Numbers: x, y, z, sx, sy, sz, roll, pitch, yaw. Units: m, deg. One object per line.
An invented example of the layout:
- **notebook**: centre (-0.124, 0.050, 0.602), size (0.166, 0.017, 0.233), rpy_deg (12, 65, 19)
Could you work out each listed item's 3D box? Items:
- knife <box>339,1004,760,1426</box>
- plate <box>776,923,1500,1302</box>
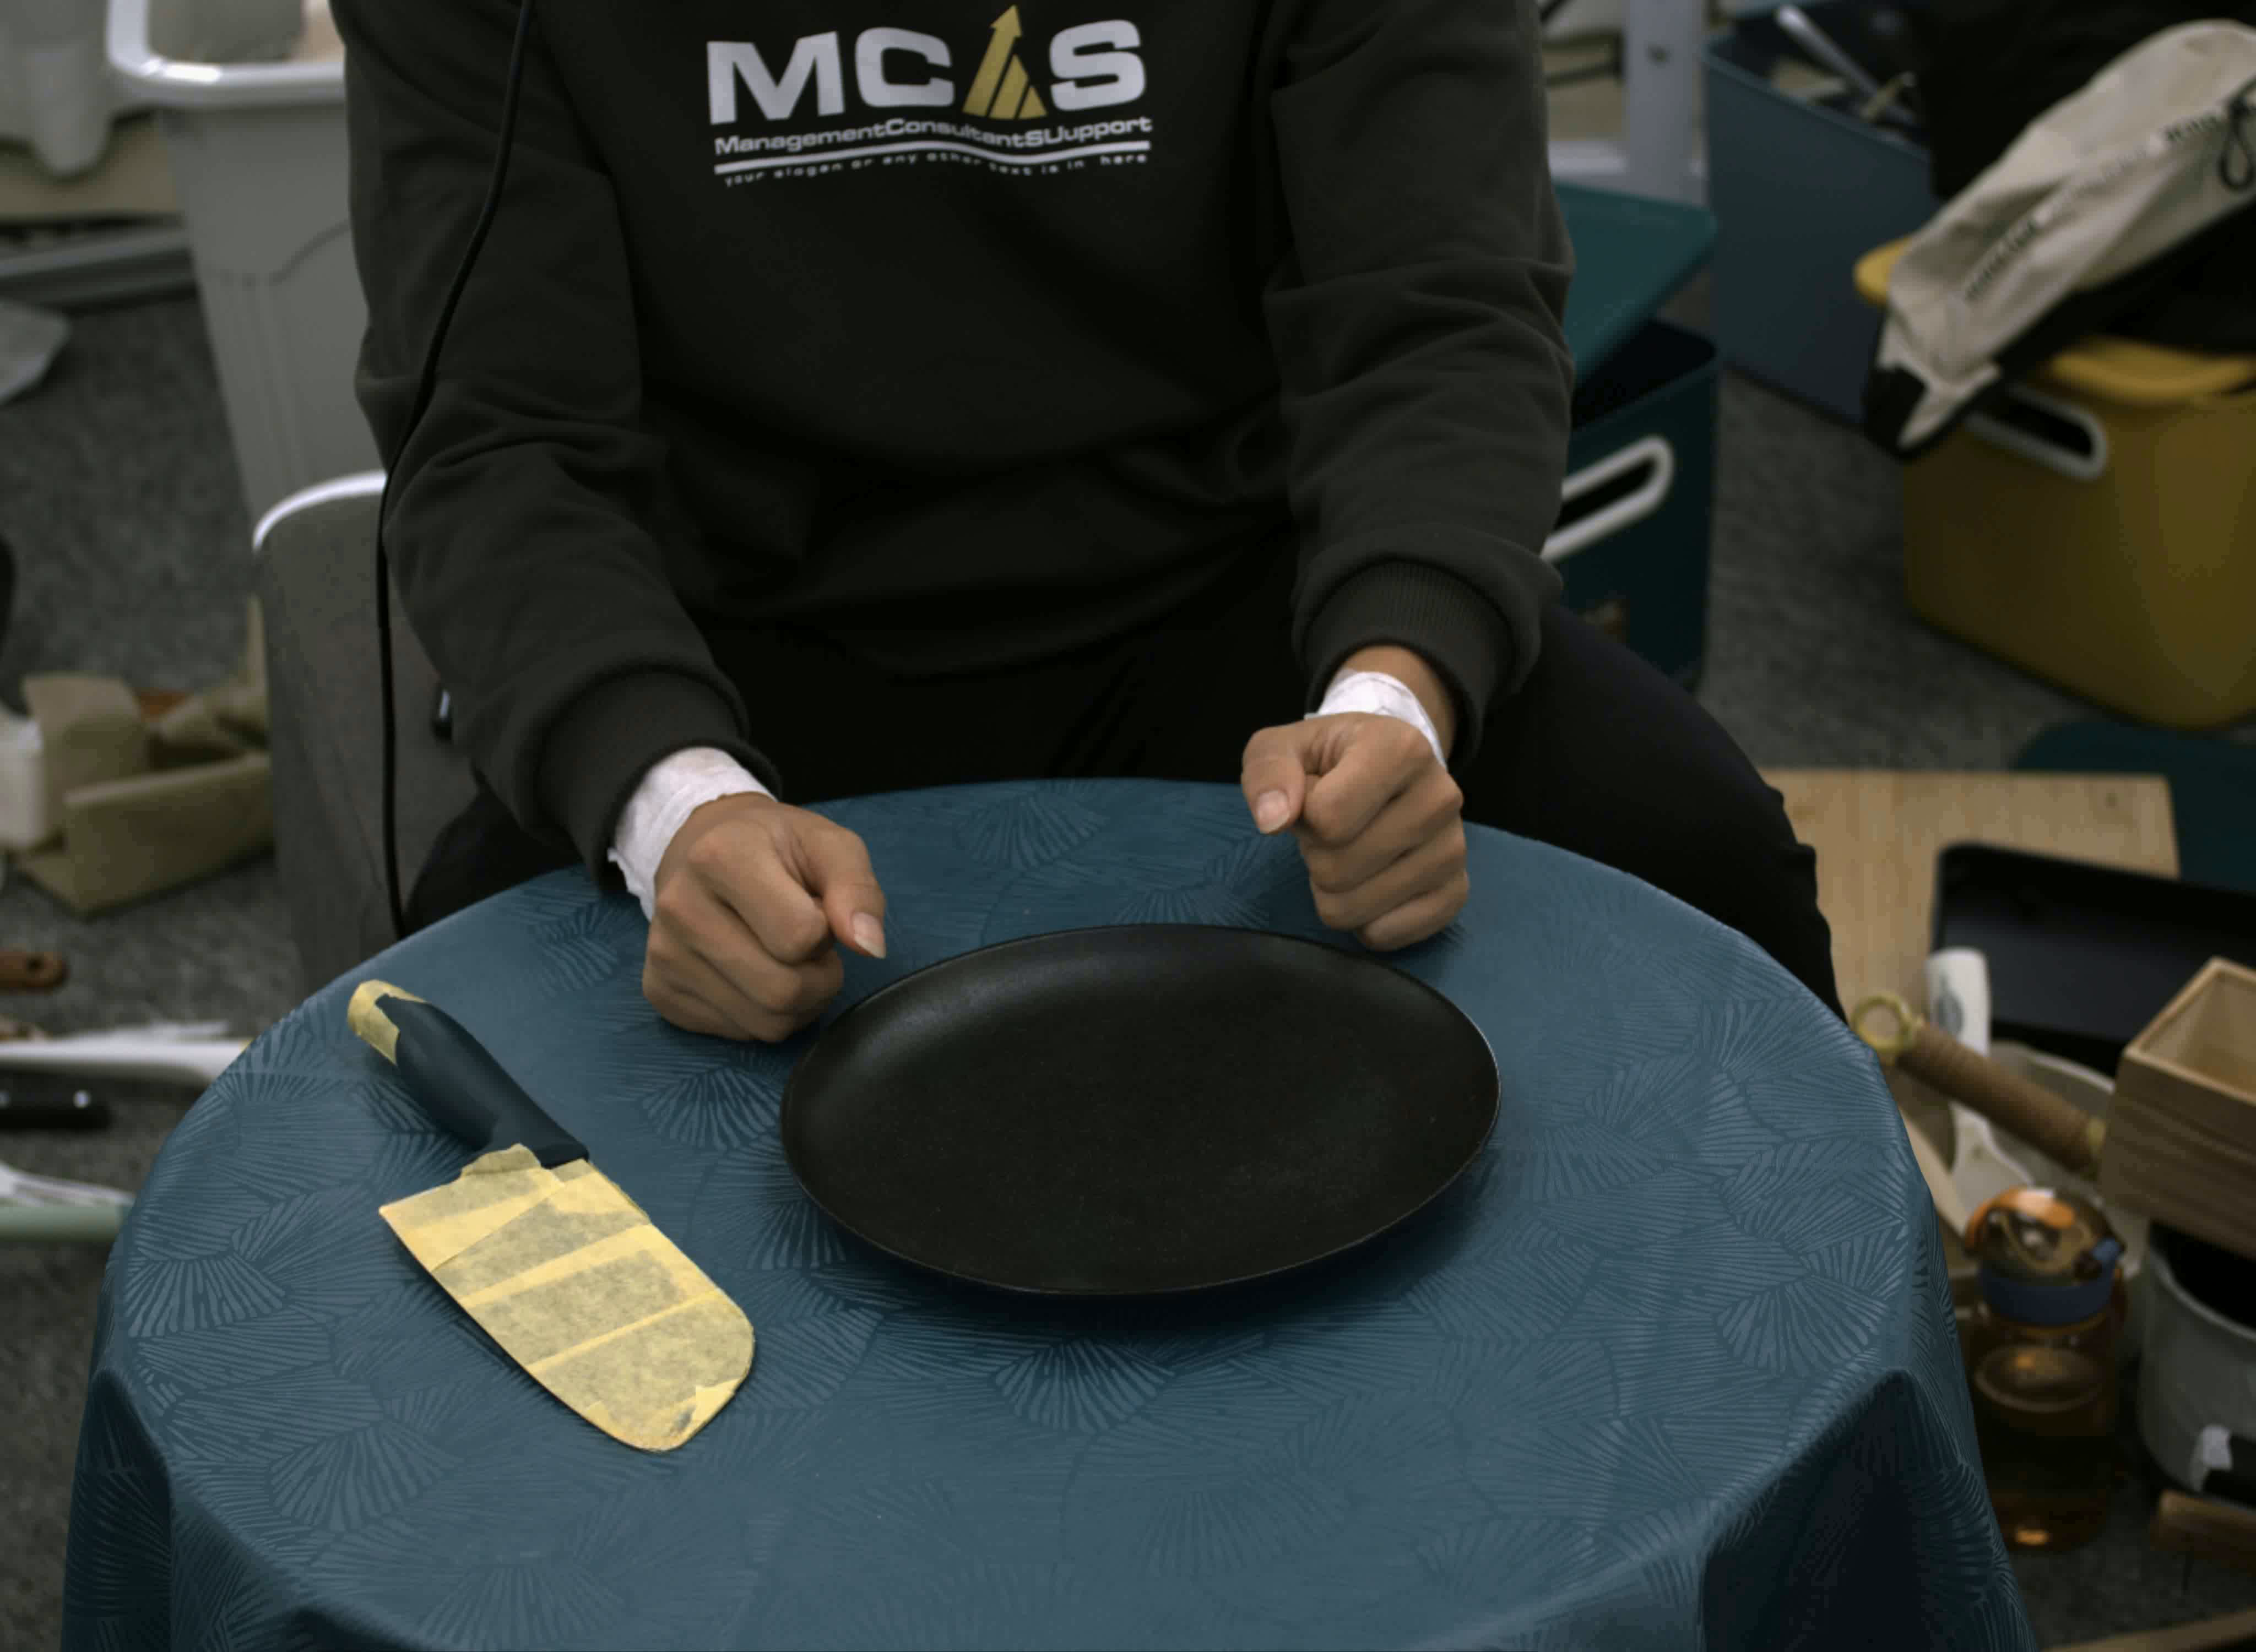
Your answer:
- **knife**: centre (-0.204, 0.129, 1.851), size (0.081, 0.027, 0.291), rpy_deg (-15, 31, -26)
- **plate**: centre (0.003, 0.100, 1.879), size (0.243, 0.023, 0.248), rpy_deg (-2, 27, 1)
